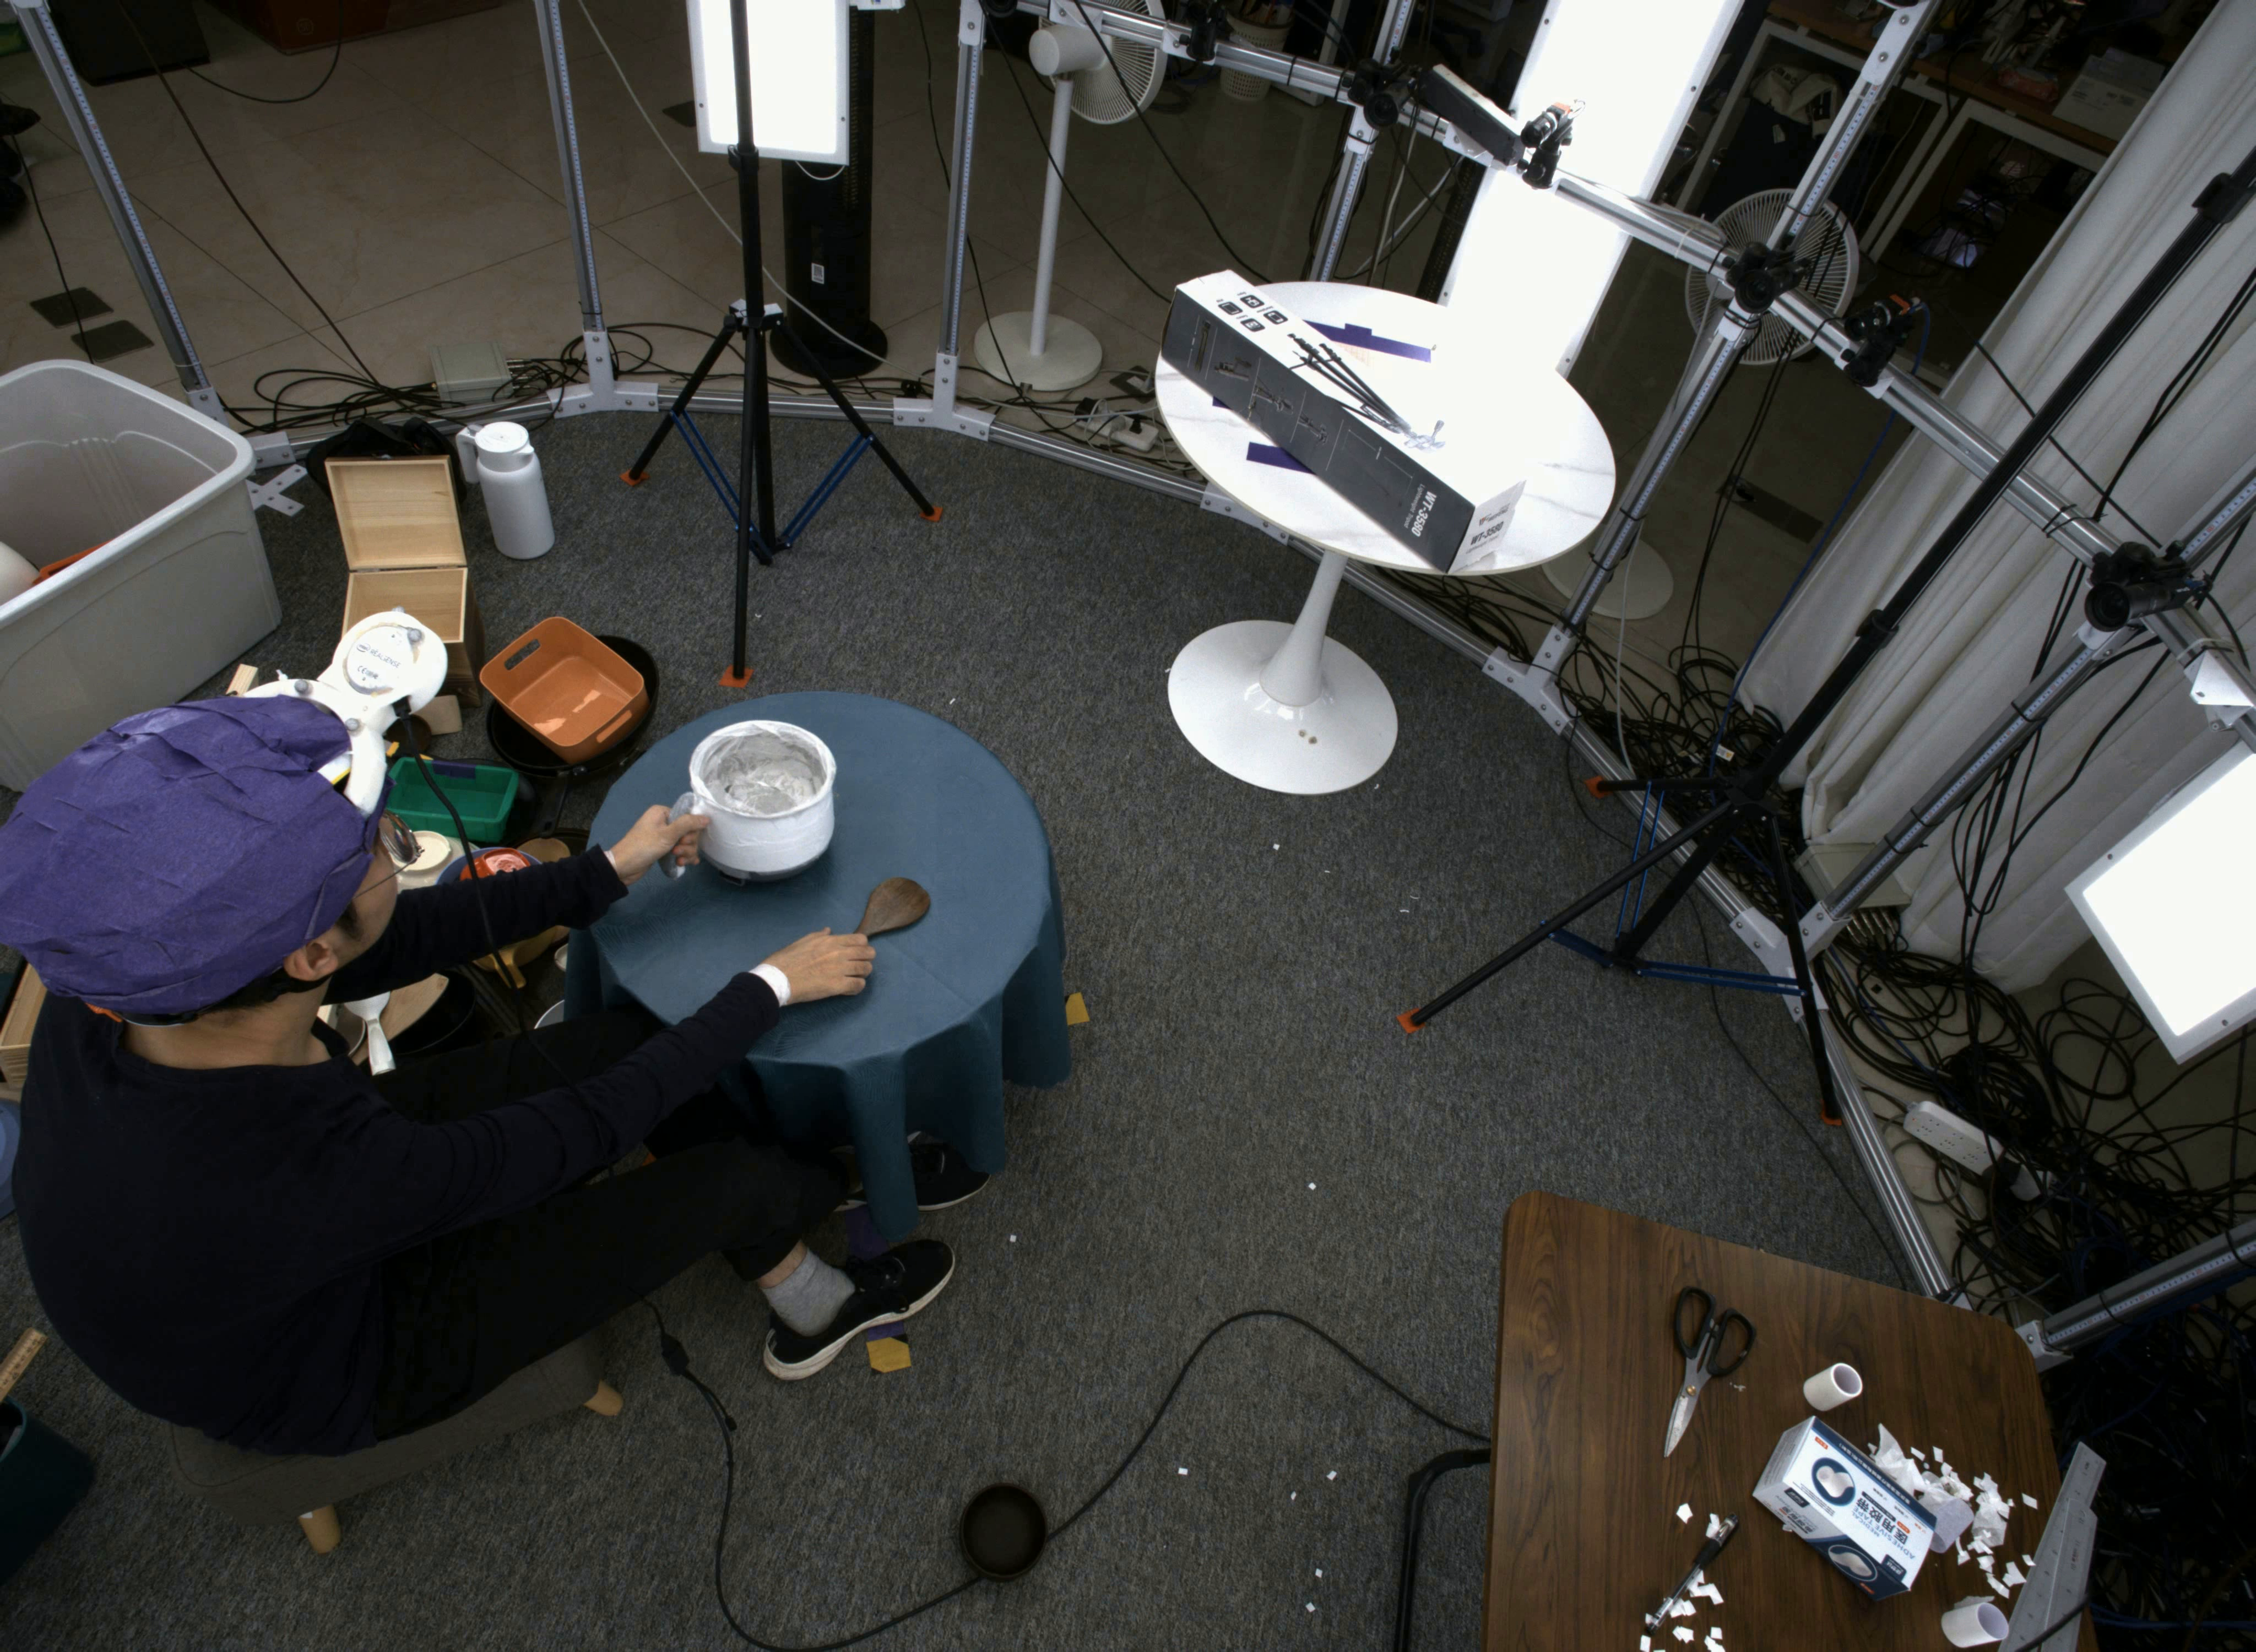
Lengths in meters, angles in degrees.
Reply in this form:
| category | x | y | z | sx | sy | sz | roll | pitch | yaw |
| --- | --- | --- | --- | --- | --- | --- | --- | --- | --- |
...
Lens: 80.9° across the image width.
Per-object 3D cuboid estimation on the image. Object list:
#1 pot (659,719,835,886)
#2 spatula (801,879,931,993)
| category | x | y | z | sx | sy | sz | roll | pitch | yaw |
| --- | --- | --- | --- | --- | --- | --- | --- | --- | --- |
| pot | -0.483 | -0.019 | 1.631 | 0.173 | 0.140 | 0.235 | 40 | 48 | 25 |
| spatula | -0.338 | 0.137 | 1.652 | 0.070 | 0.009 | 0.215 | 35 | 54 | 16 |
